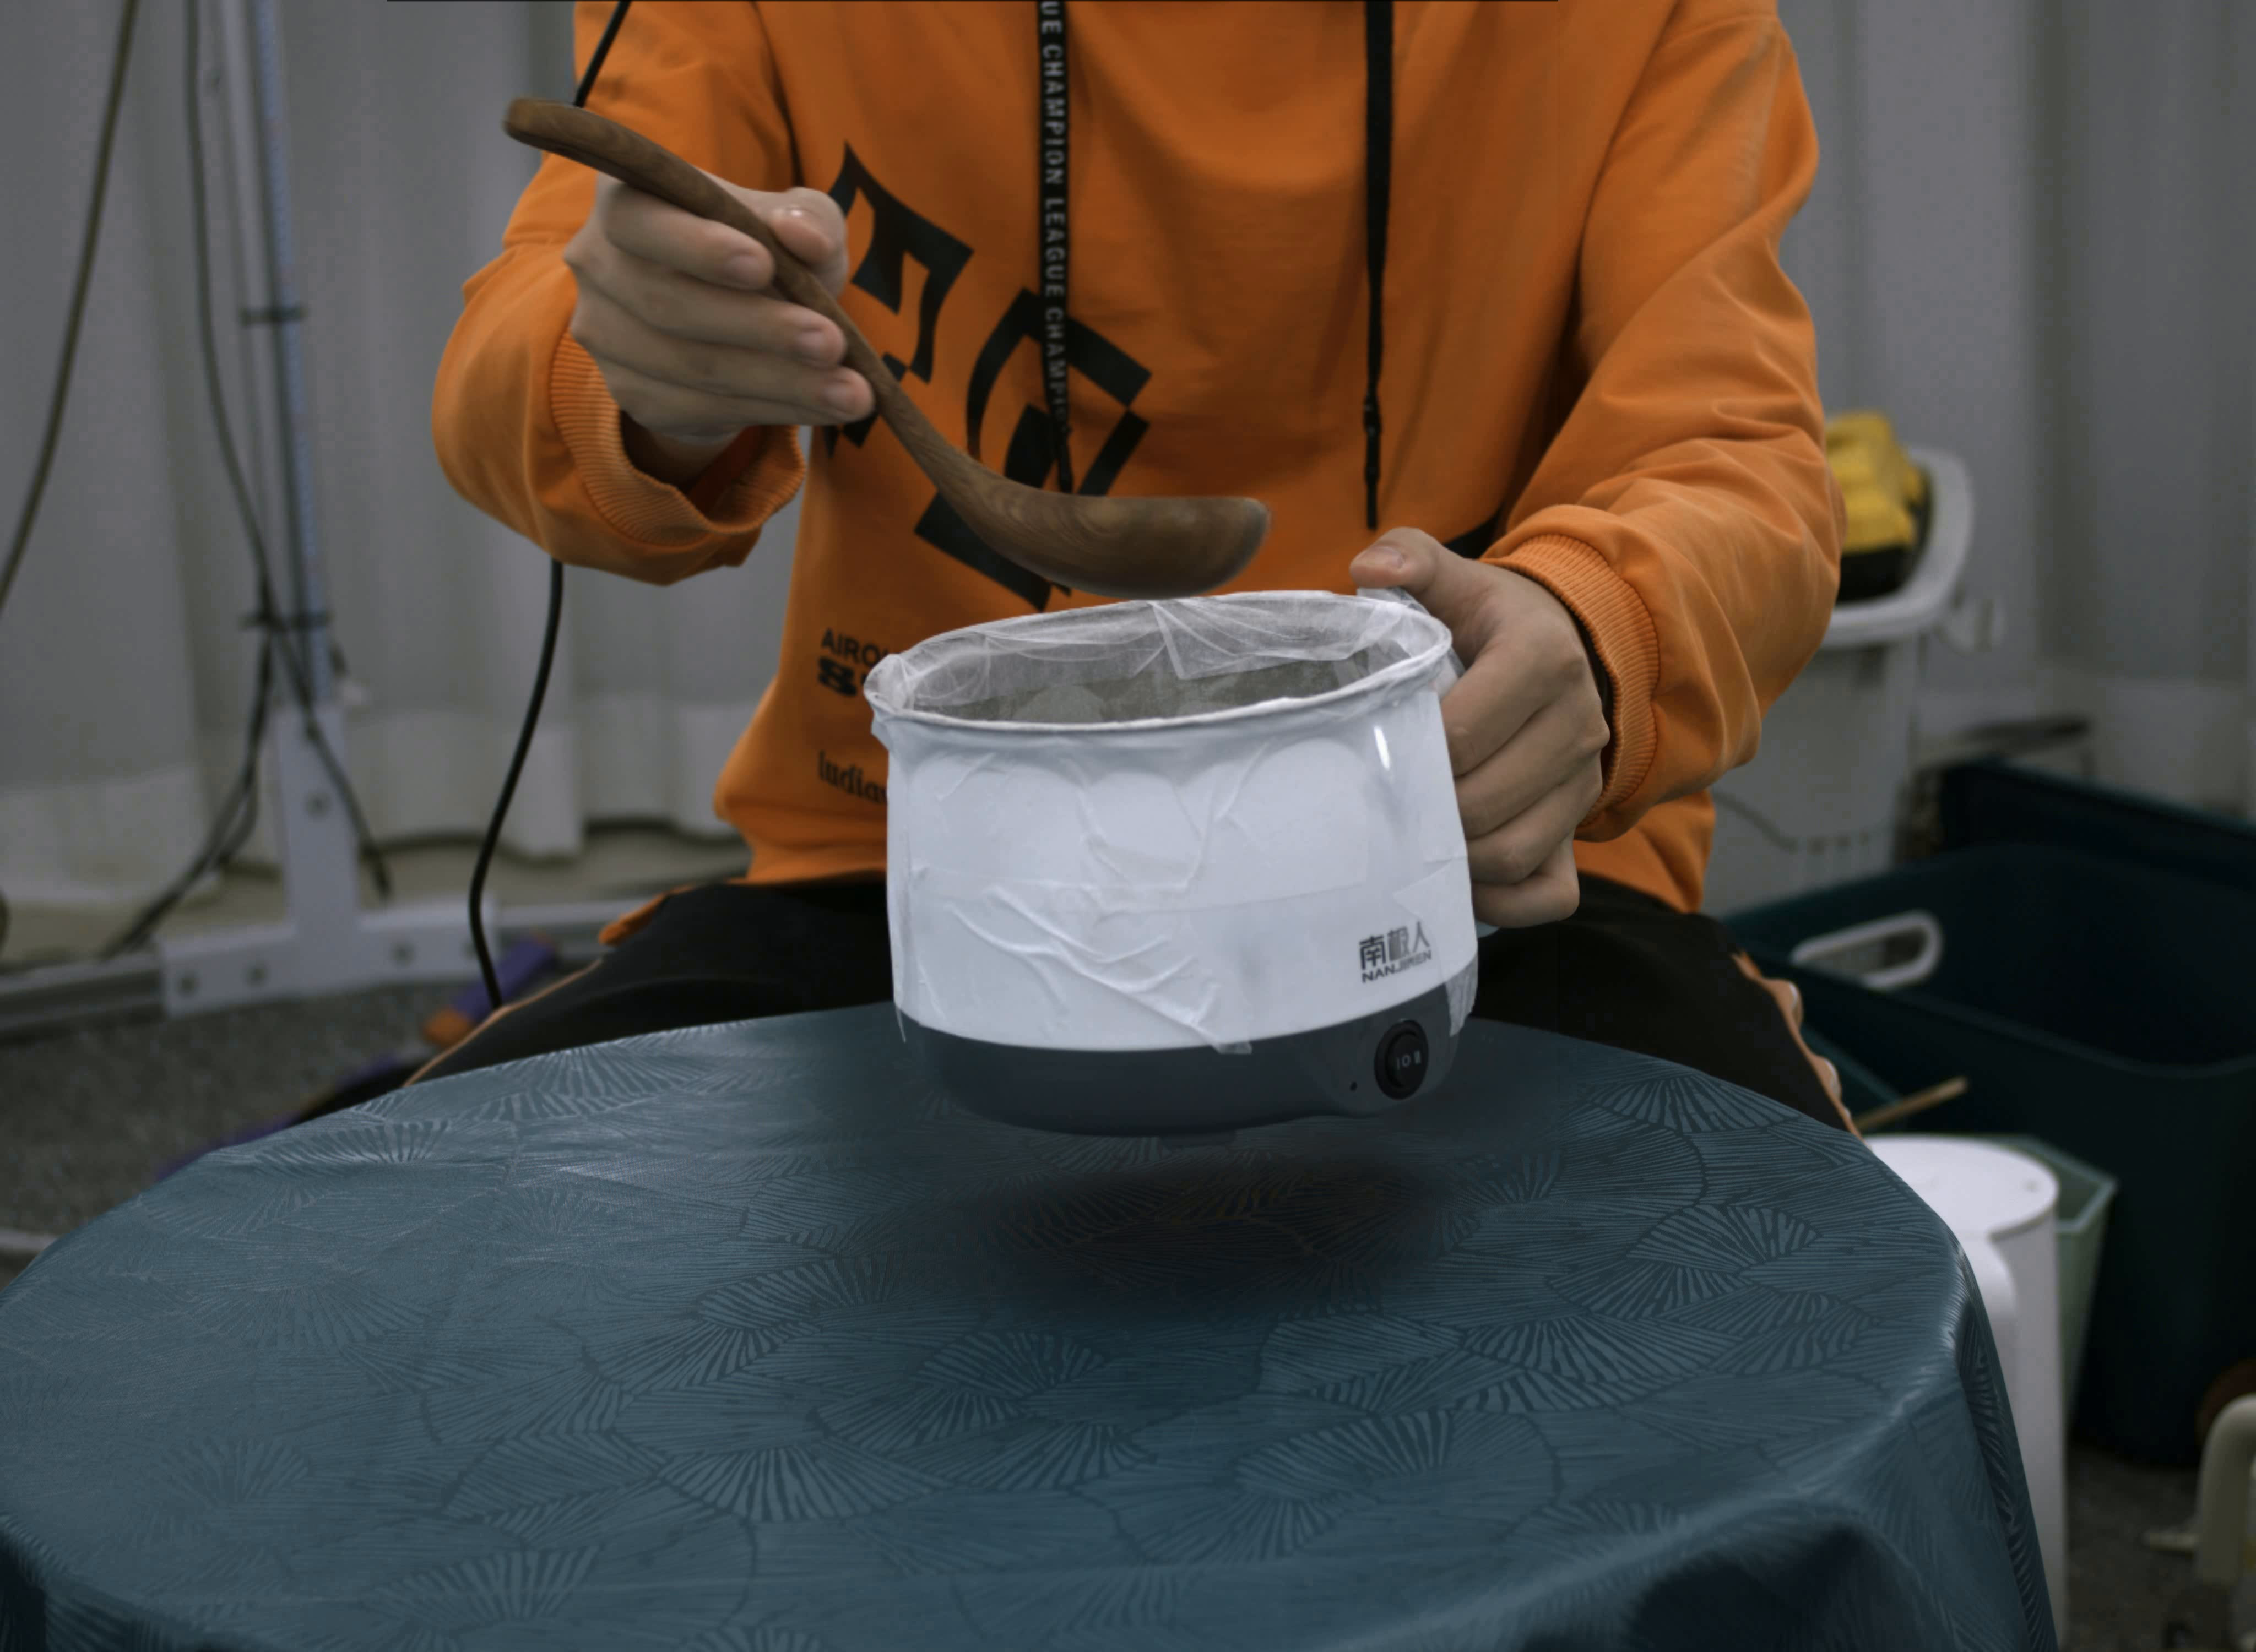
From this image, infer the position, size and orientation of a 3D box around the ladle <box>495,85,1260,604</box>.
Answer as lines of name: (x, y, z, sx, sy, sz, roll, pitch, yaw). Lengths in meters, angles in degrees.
ladle: (-0.073, -0.152, 1.642, 0.065, 0.259, 0.076, -51, 5, -16)

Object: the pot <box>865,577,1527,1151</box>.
pot: (0.033, 0.005, 1.662, 0.179, 0.136, 0.233, 8, 18, 43)
